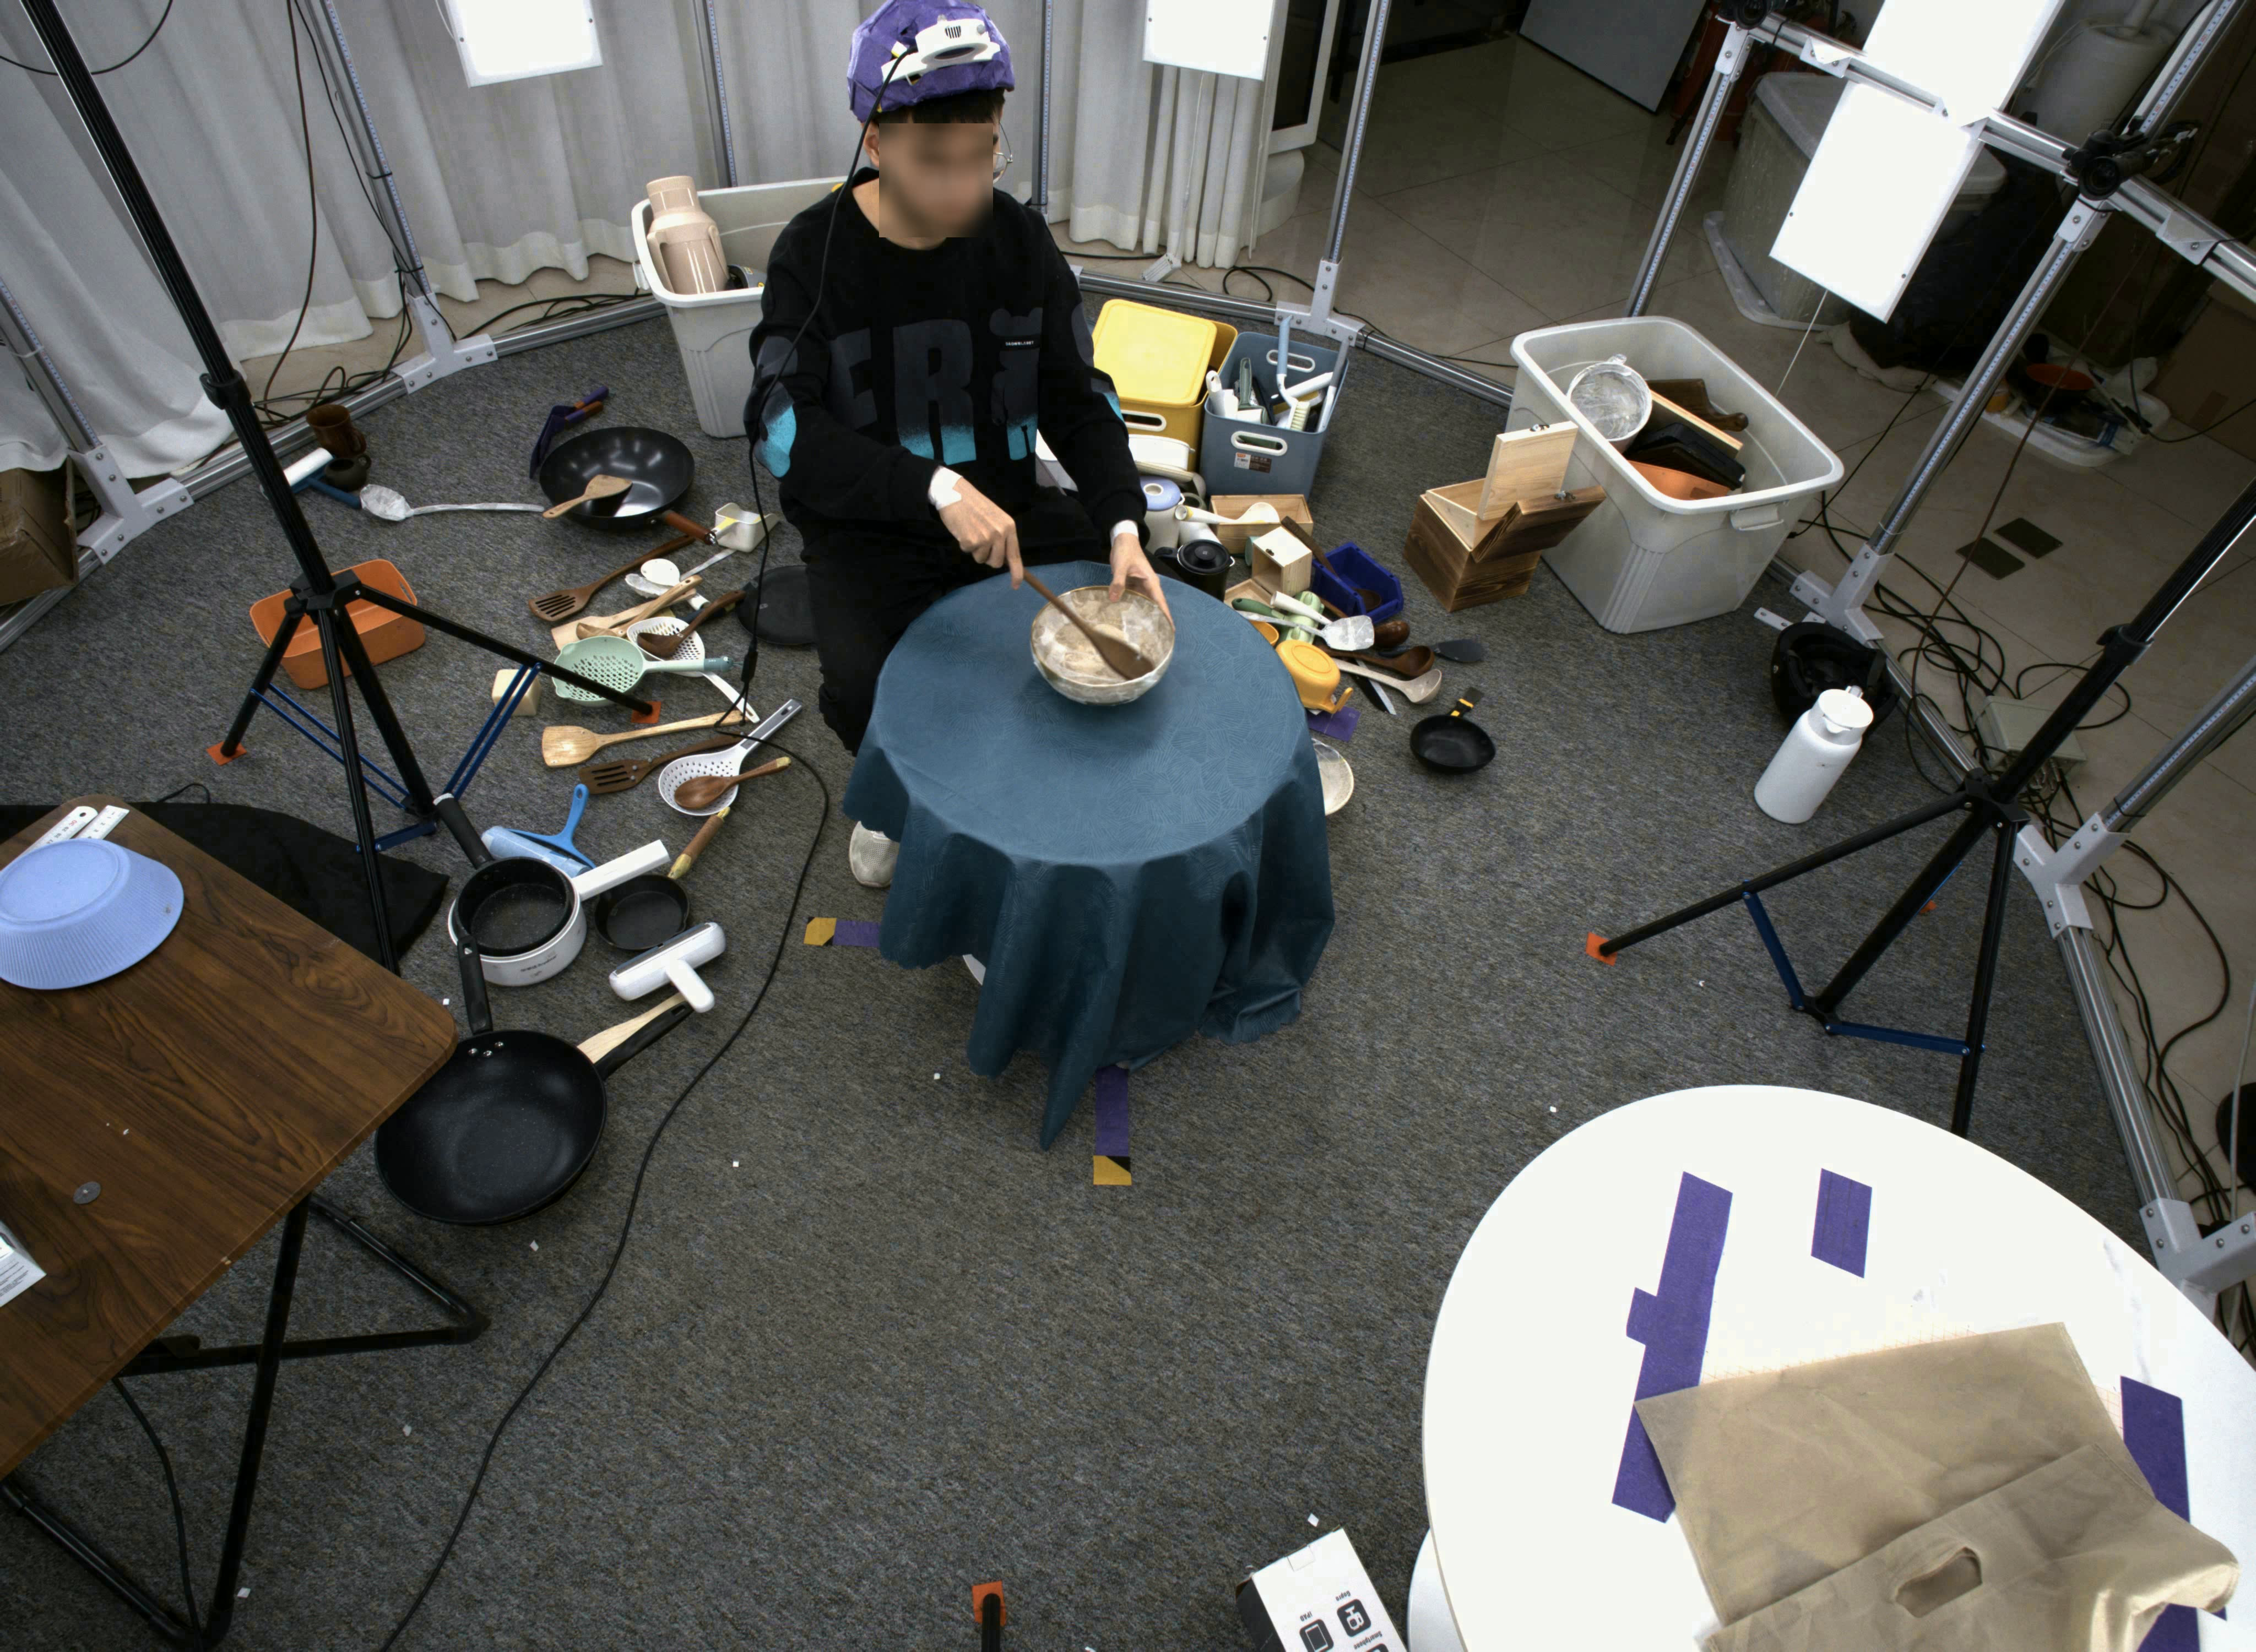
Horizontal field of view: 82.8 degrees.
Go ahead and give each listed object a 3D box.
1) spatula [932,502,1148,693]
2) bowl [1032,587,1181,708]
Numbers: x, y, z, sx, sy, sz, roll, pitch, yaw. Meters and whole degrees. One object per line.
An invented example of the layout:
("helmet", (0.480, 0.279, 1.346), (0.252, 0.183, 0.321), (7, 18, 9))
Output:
("spatula", (-0.114, -0.314, 1.765), (0.383, 0.015, 0.098), (40, 25, -11))
("bowl", (-0.030, -0.240, 1.828), (0.214, 0.092, 0.220), (-1, 49, 1))
